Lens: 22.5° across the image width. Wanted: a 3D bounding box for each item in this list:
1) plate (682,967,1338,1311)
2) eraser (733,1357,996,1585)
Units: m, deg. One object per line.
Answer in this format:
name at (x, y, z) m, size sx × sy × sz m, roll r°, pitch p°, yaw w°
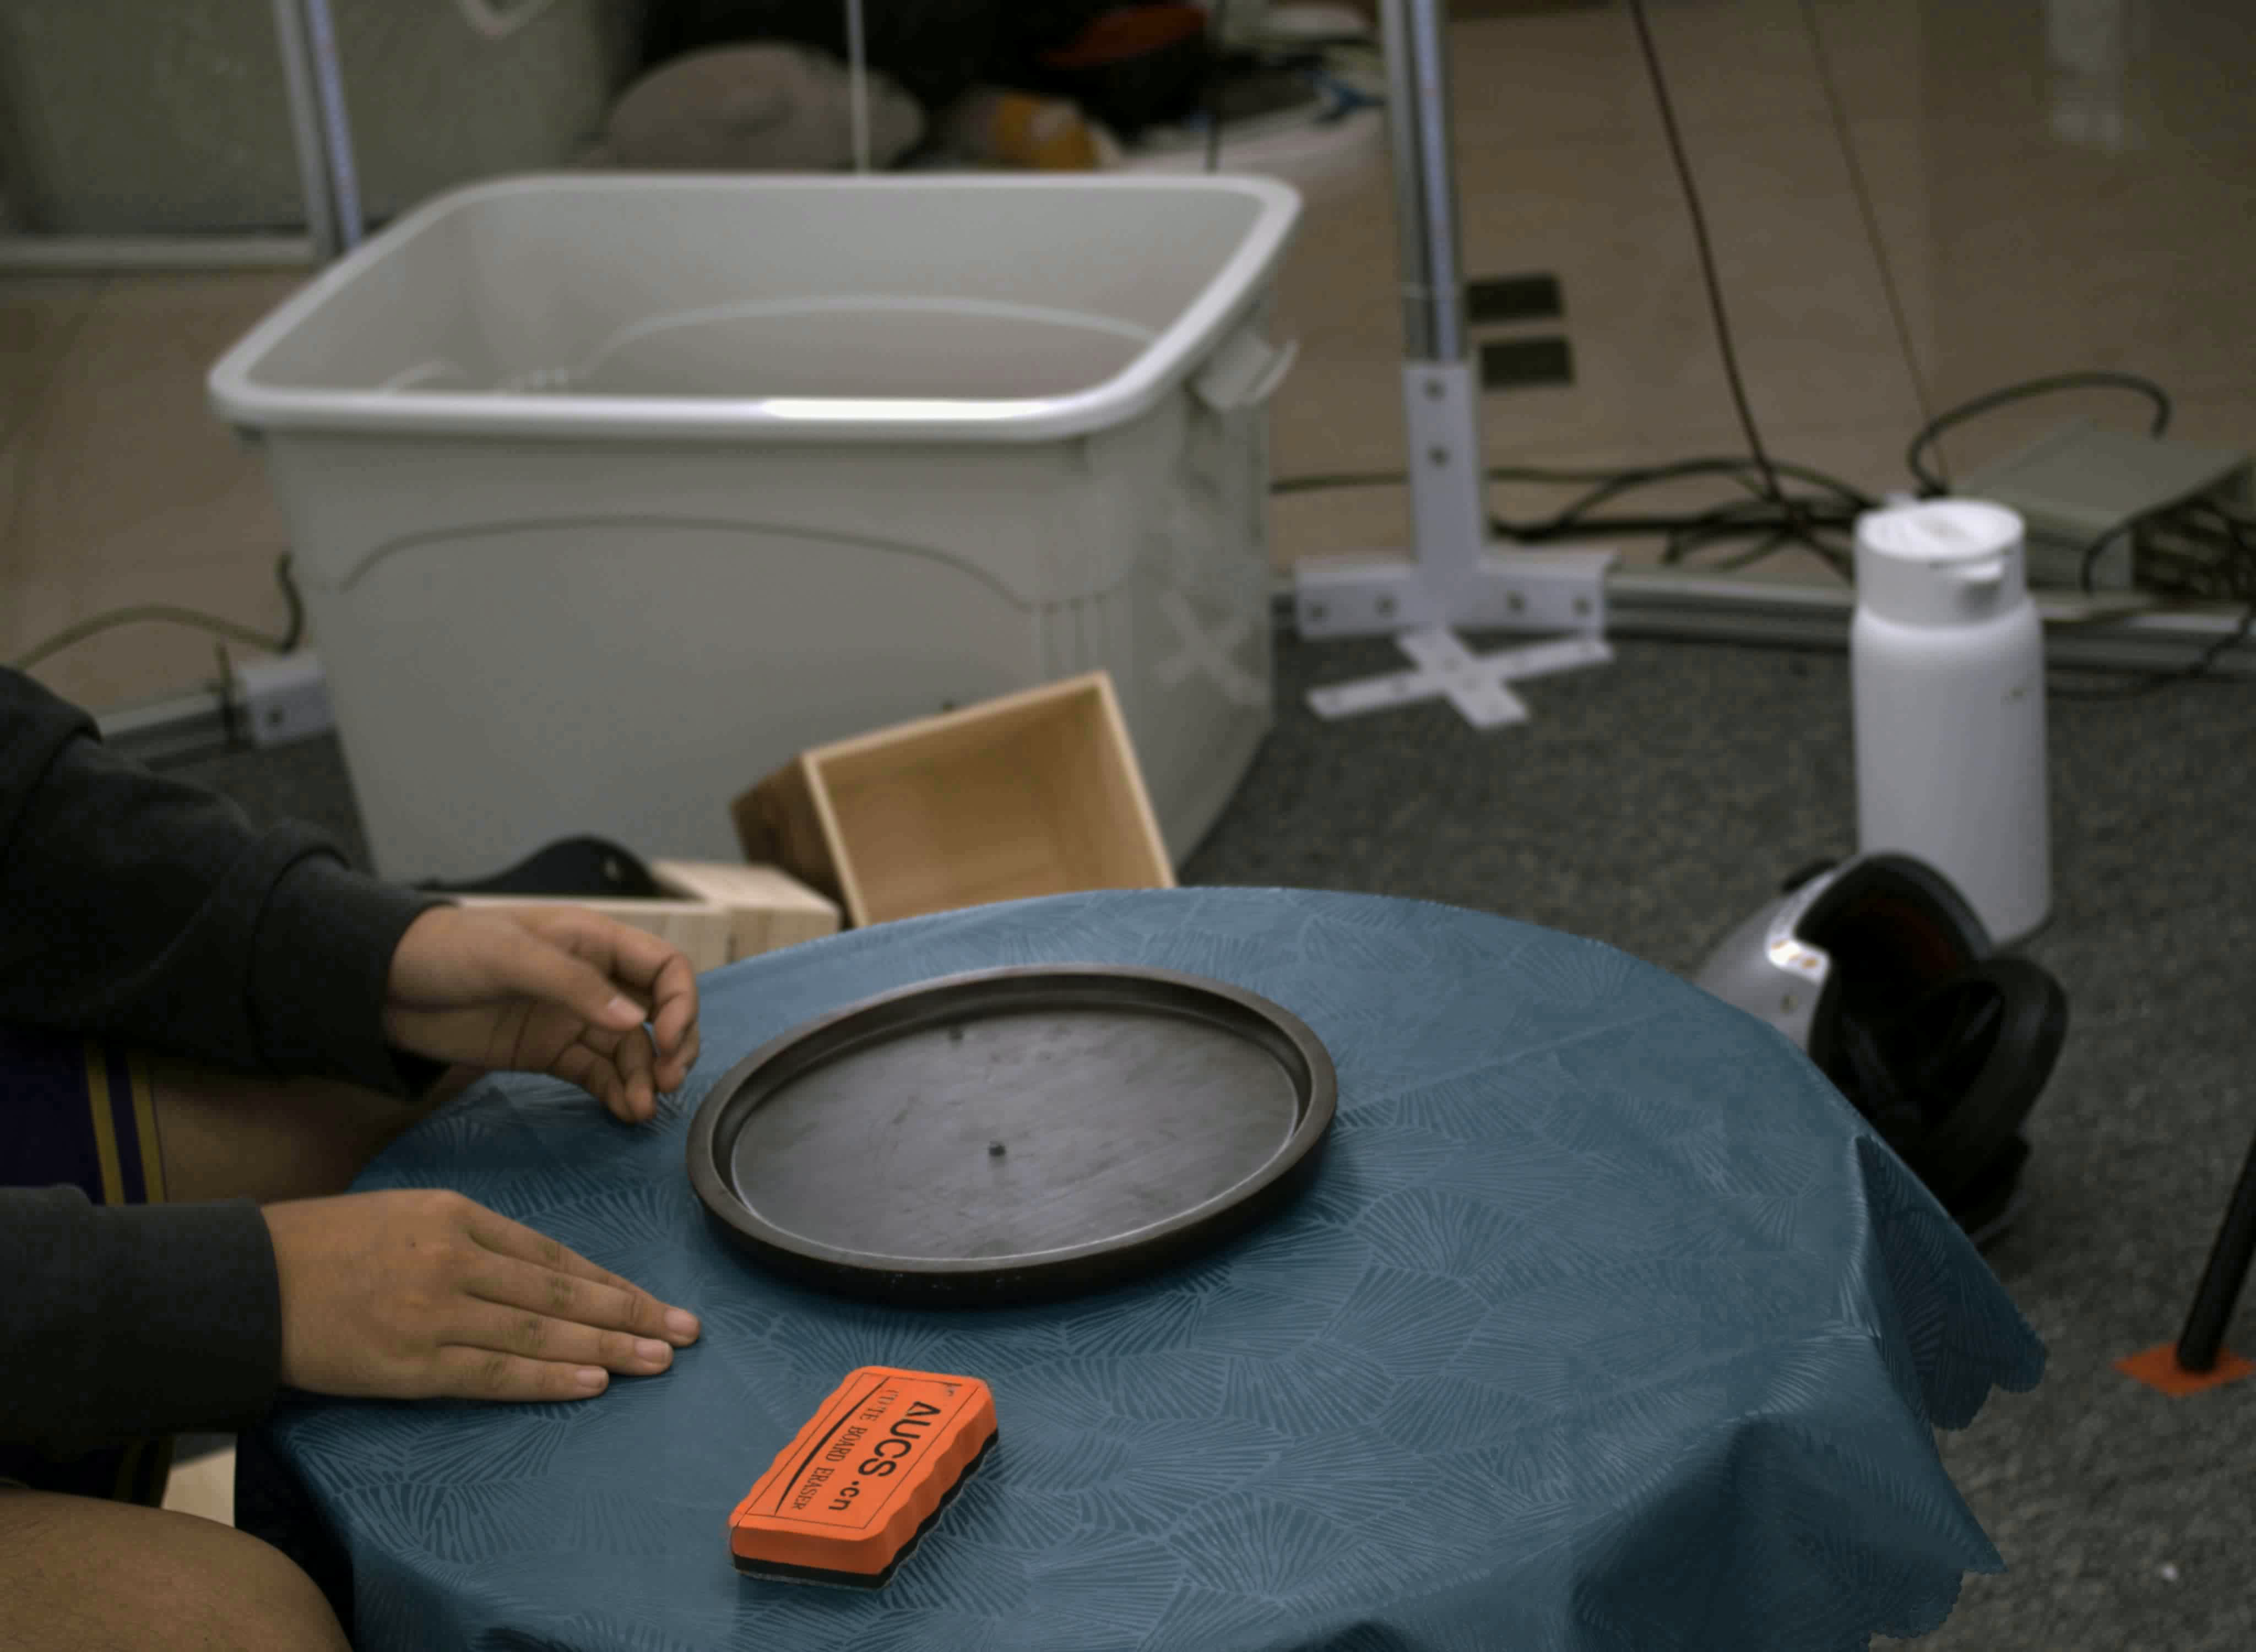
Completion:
plate at (-0.045, 0.118, 2.176) m, size 0.254 × 0.029 × 0.251 m, roll -5°, pitch 26°, yaw 3°
eraser at (-0.090, 0.221, 1.957) m, size 0.059 × 0.023 × 0.106 m, roll 4°, pitch 28°, yaw 23°
